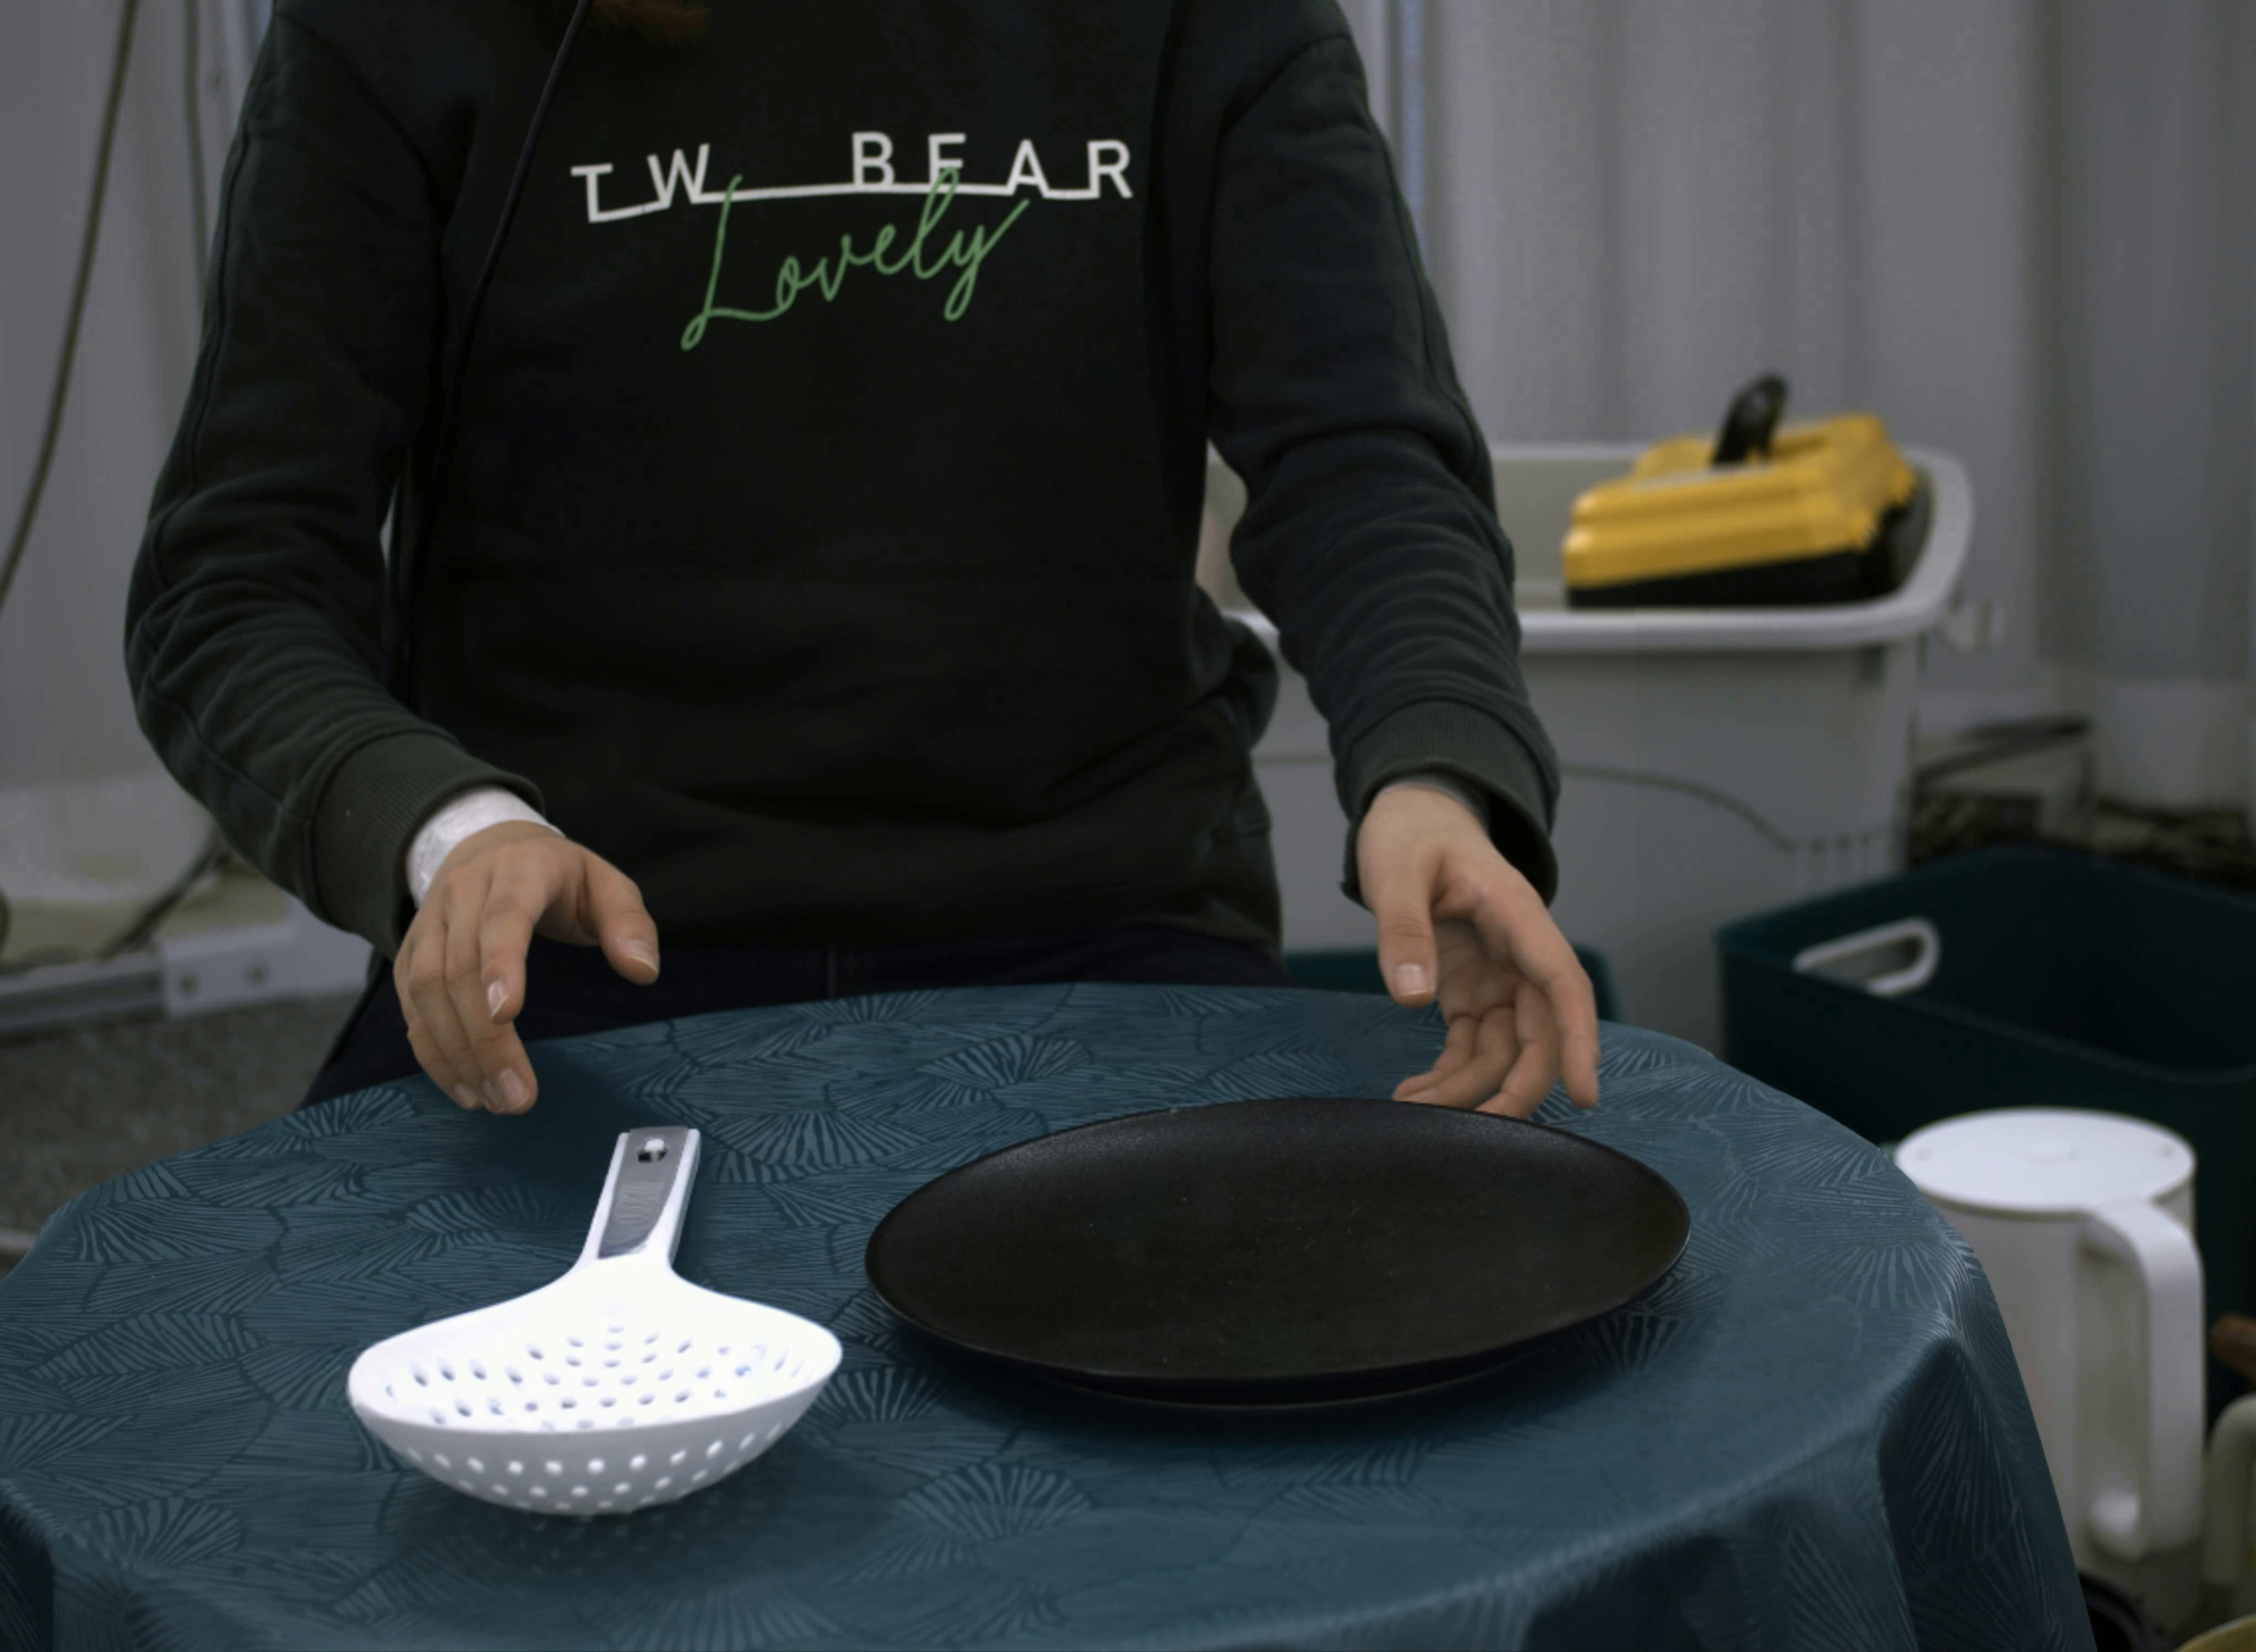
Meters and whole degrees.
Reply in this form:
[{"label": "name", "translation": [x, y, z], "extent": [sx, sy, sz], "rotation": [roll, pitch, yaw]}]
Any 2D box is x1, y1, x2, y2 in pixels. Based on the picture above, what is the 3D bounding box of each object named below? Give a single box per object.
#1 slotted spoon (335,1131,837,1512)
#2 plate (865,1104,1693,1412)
[{"label": "slotted spoon", "translation": [-0.147, 0.134, 1.583], "extent": [0.135, 0.045, 0.352], "rotation": [-1, 14, 0]}, {"label": "plate", "translation": [0.045, 0.129, 1.608], "extent": [0.243, 0.023, 0.246], "rotation": [-3, 15, 0]}]
